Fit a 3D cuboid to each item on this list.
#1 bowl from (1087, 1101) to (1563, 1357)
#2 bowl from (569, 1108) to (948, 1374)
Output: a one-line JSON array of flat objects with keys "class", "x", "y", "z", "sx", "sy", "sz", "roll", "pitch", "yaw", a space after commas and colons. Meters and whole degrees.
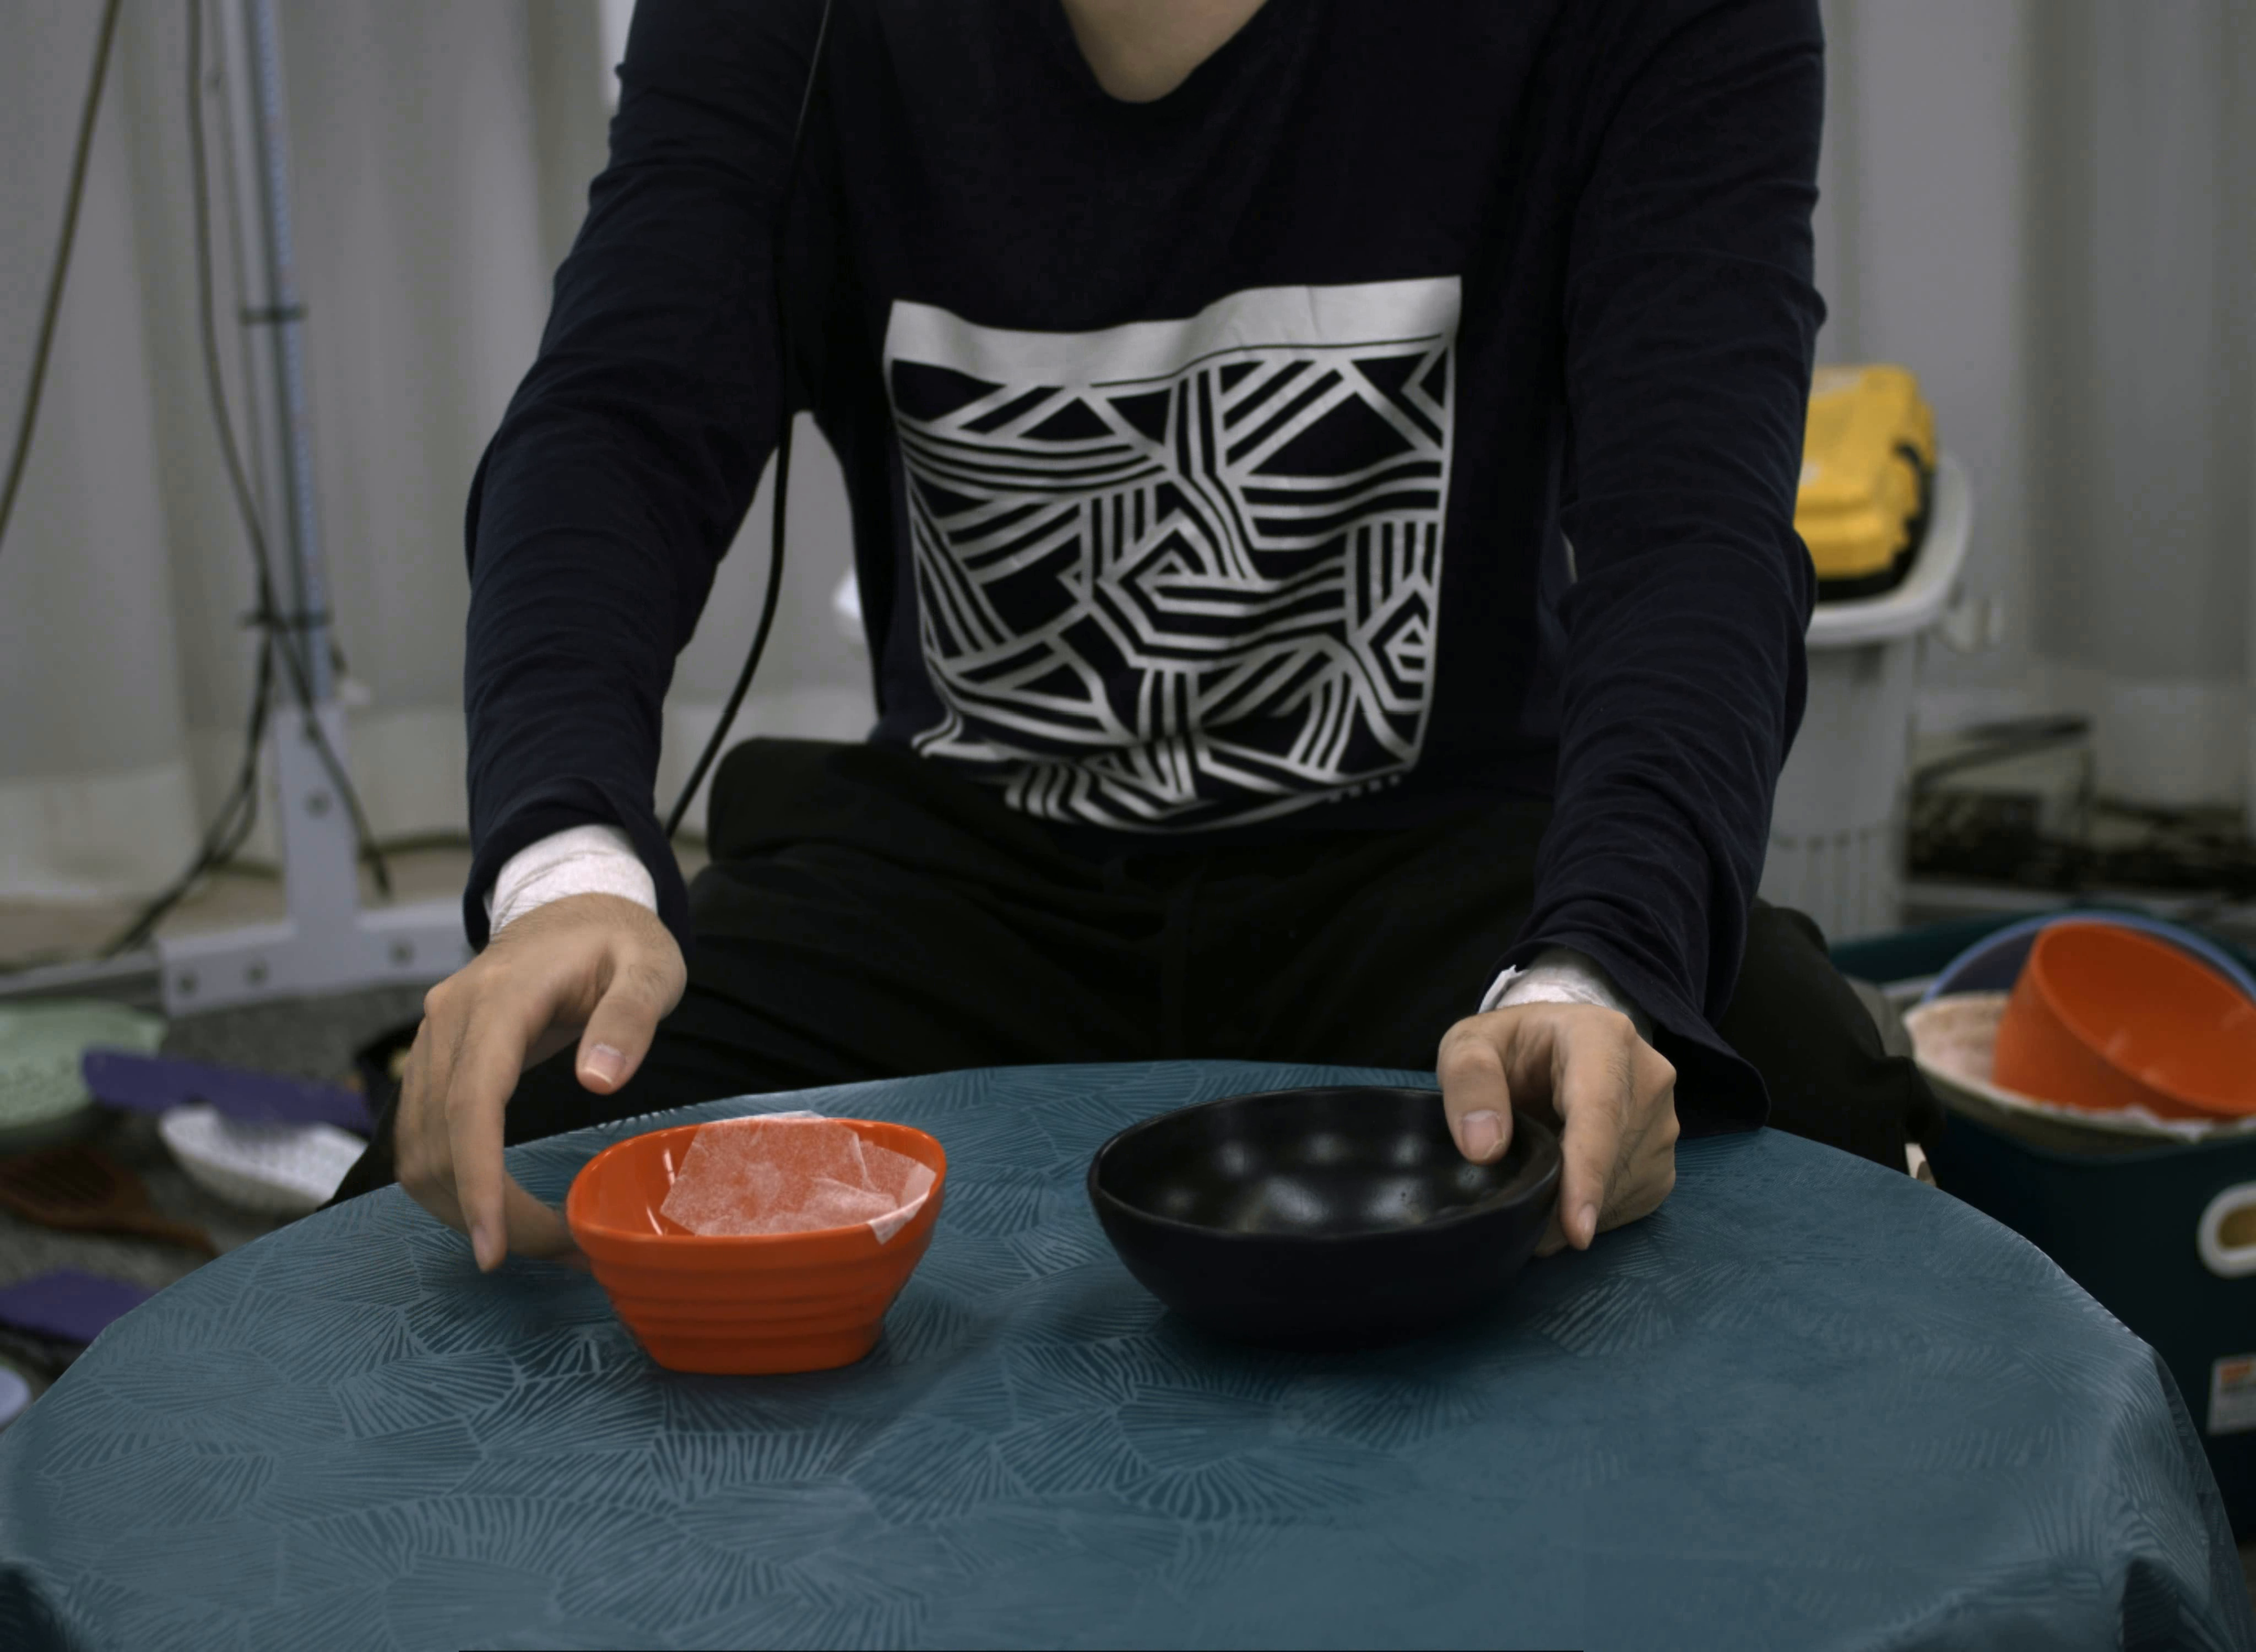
[{"class": "bowl", "x": 0.058, "y": 0.121, "z": 1.594, "sx": 0.139, "sy": 0.049, "sz": 0.141, "roll": -2, "pitch": 12, "yaw": 0}, {"class": "bowl", "x": -0.106, "y": 0.124, "z": 1.599, "sx": 0.118, "sy": 0.051, "sz": 0.120, "roll": -4, "pitch": 16, "yaw": 1}]
